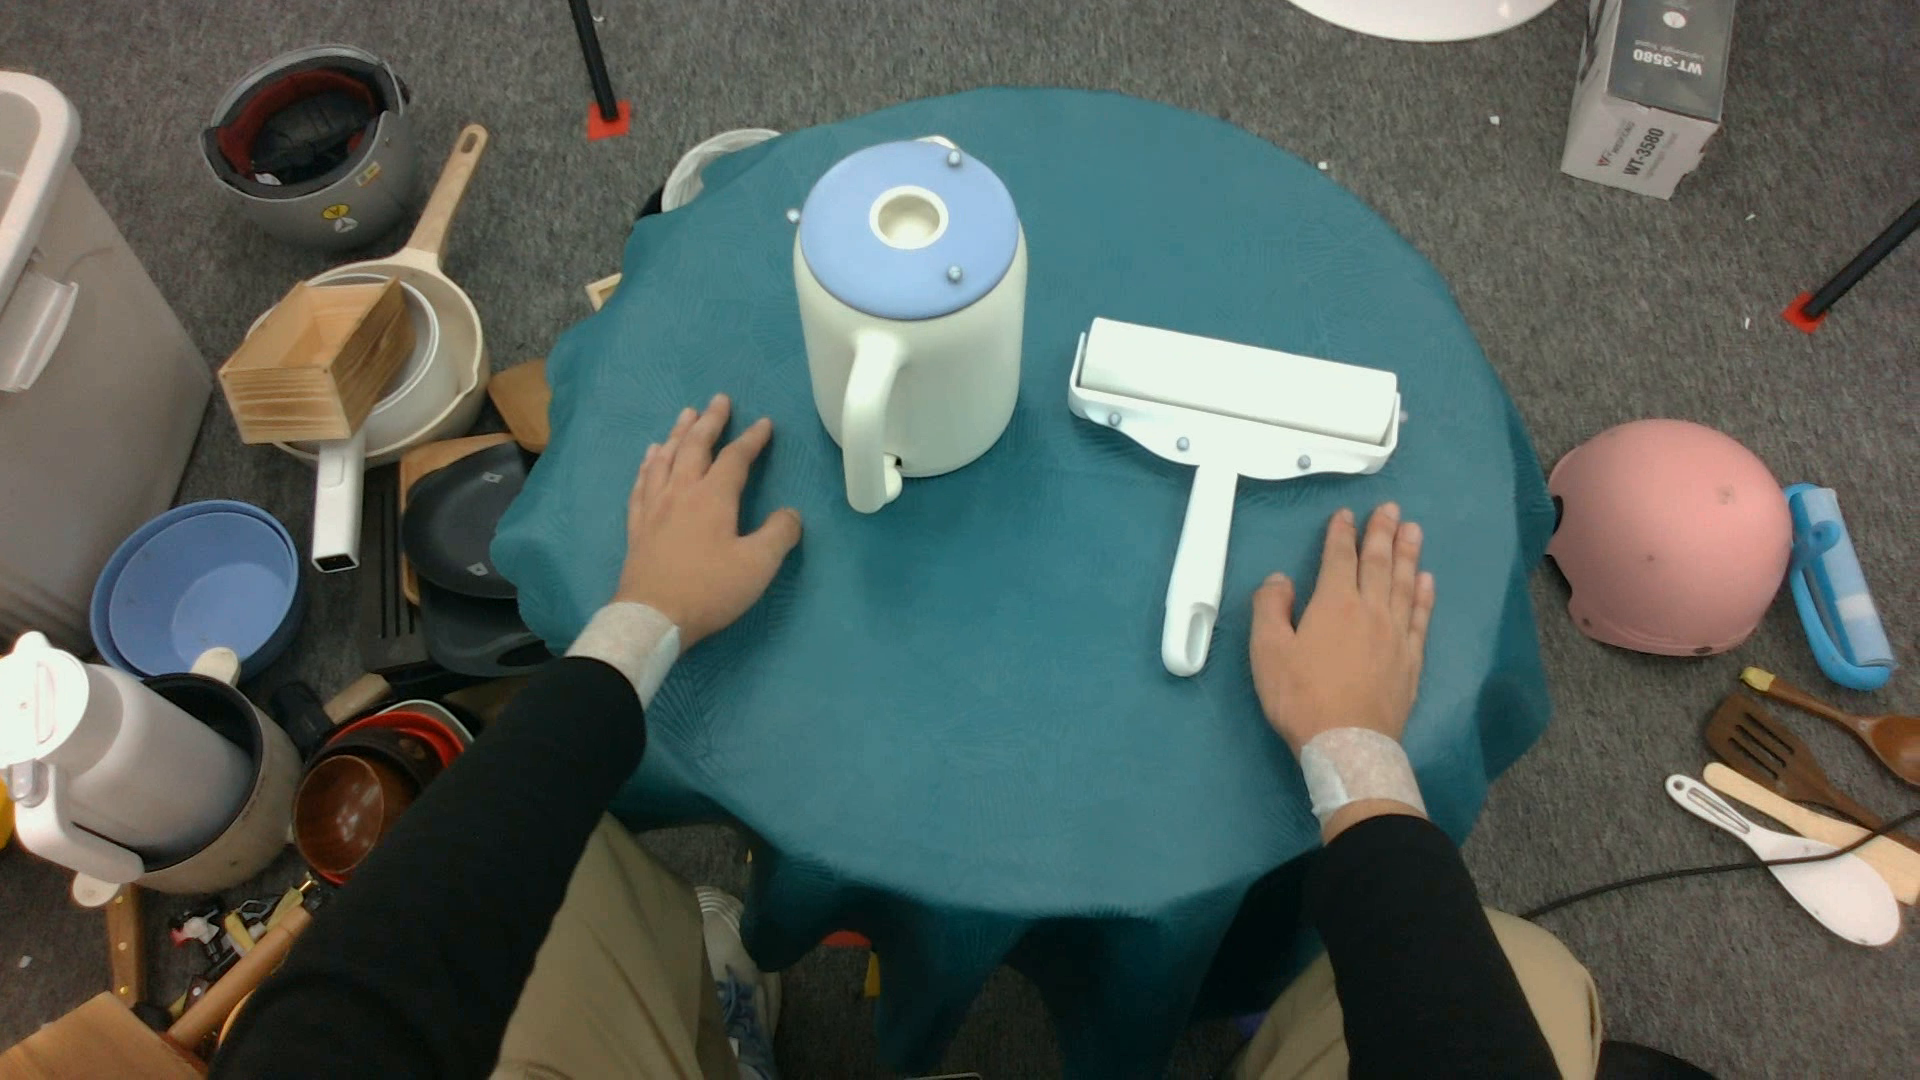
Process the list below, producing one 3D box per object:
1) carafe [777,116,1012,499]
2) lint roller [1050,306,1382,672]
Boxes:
[{"bbox_3d":[-0.041,-0.120,0.801,0.132,0.182,0.192,10,66,5],"label":"carafe"},{"bbox_3d":[0.144,-0.029,0.831,0.203,0.048,0.226,11,65,3],"label":"lint roller"}]
